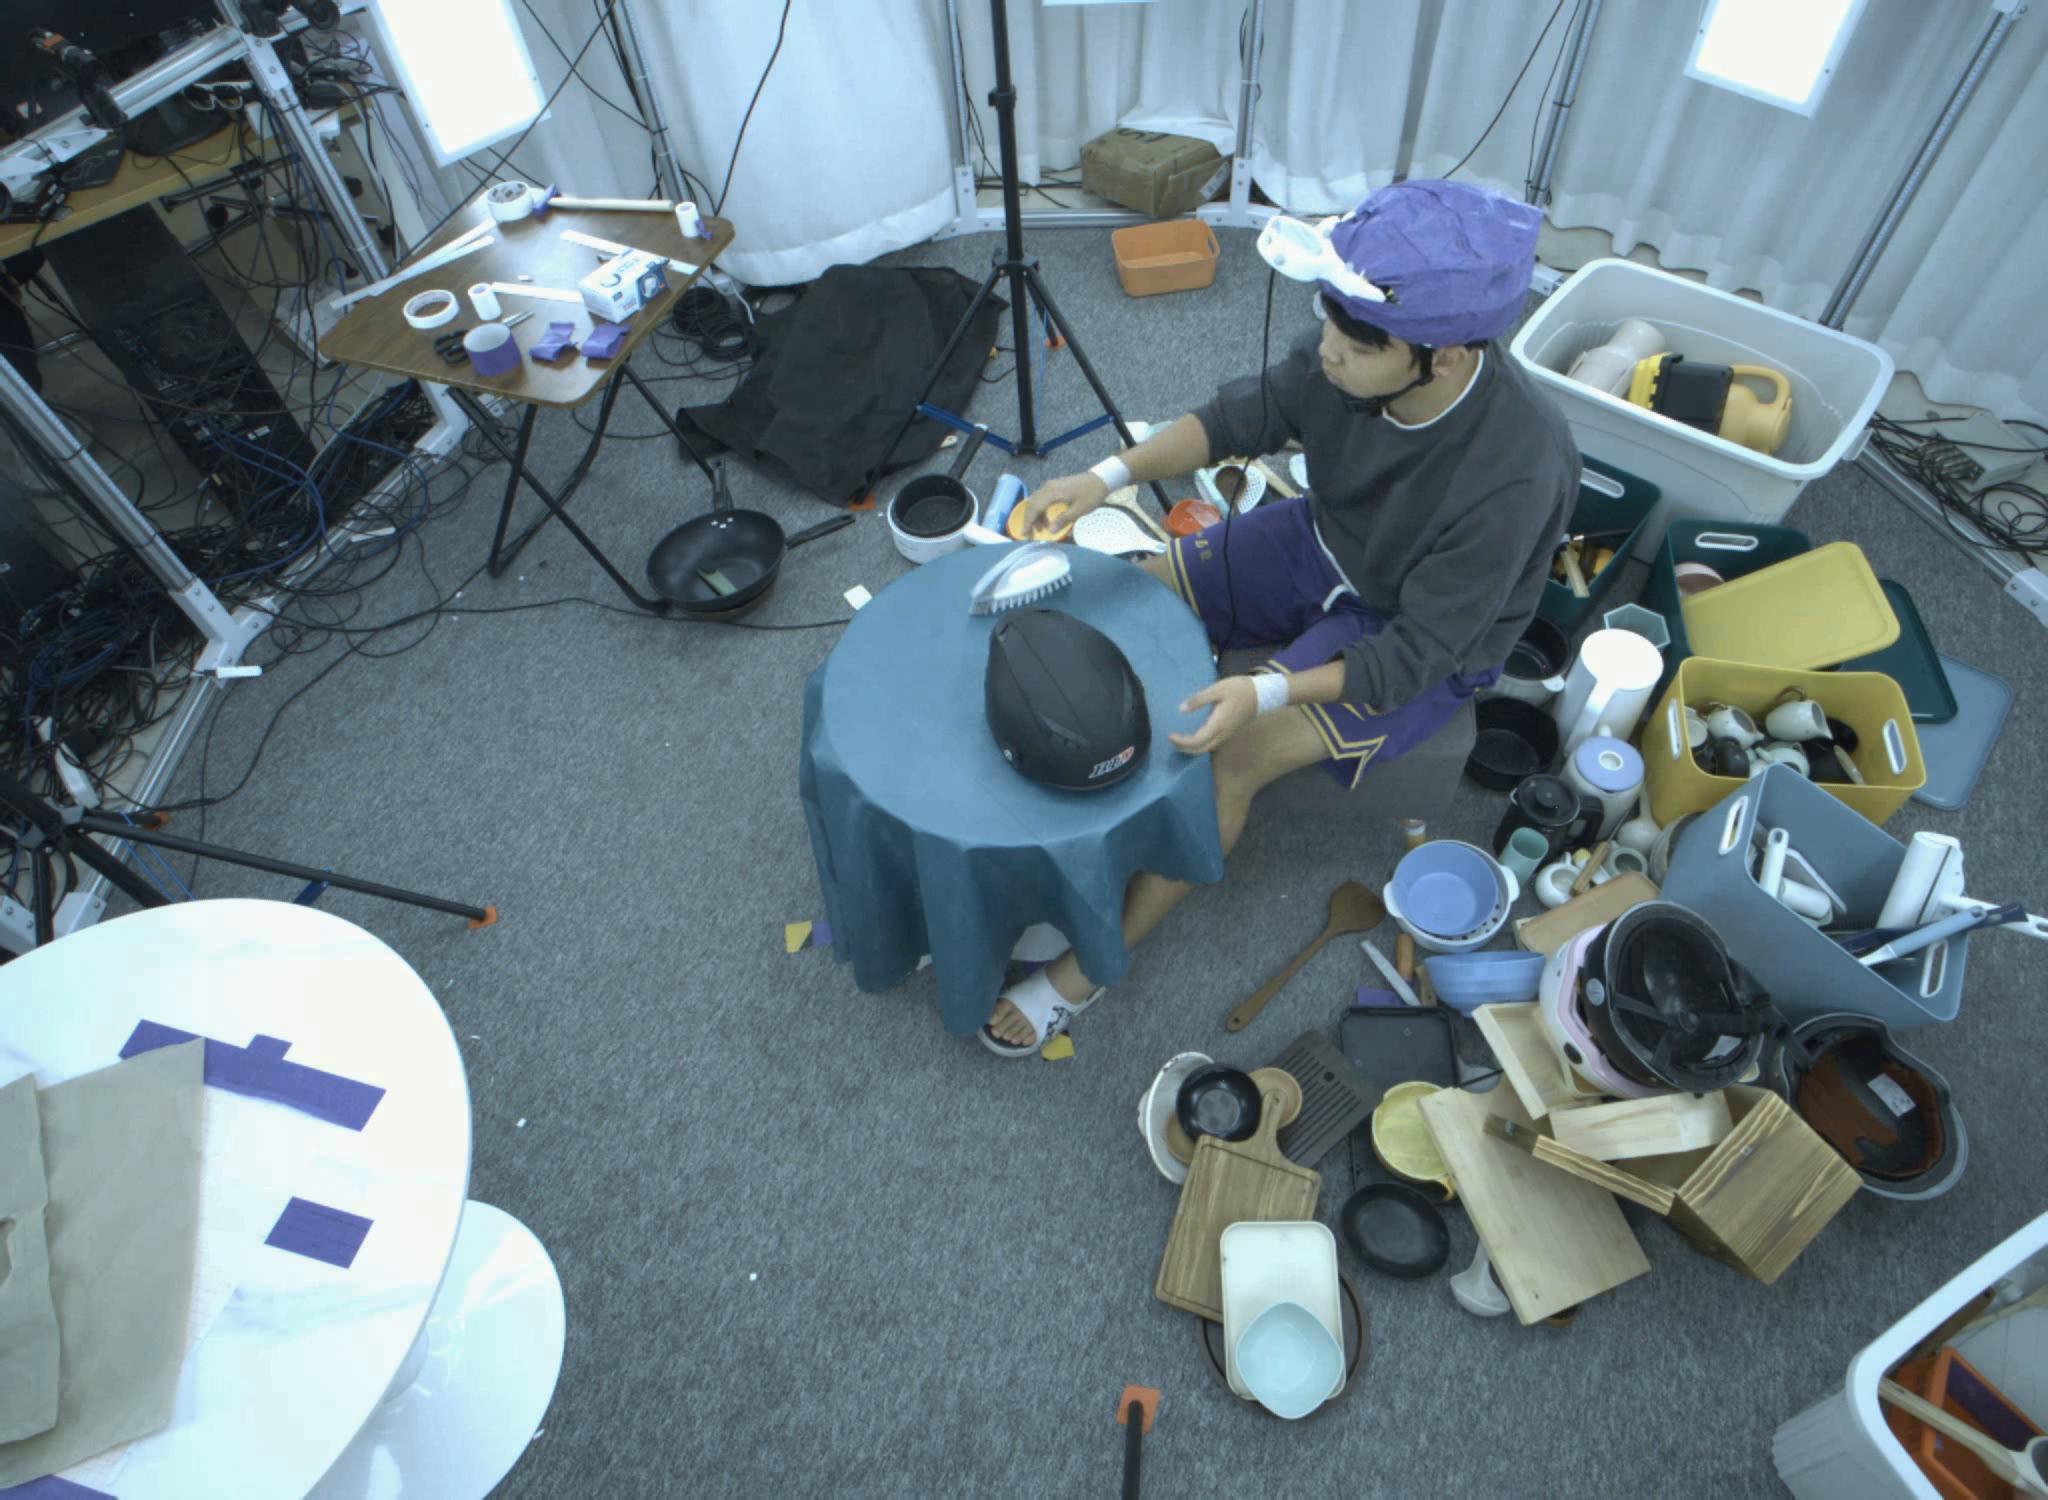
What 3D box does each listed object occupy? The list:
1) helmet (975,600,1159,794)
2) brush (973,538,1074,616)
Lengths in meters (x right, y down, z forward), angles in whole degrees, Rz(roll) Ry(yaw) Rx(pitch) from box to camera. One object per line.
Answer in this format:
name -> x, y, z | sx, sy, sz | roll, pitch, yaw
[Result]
helmet -> 0.054, -0.084, 1.750 | 0.248, 0.174, 0.271 | -26, 53, -14
brush -> -0.008, -0.276, 1.931 | 0.177, 0.095, 0.060 | -27, 56, -13
